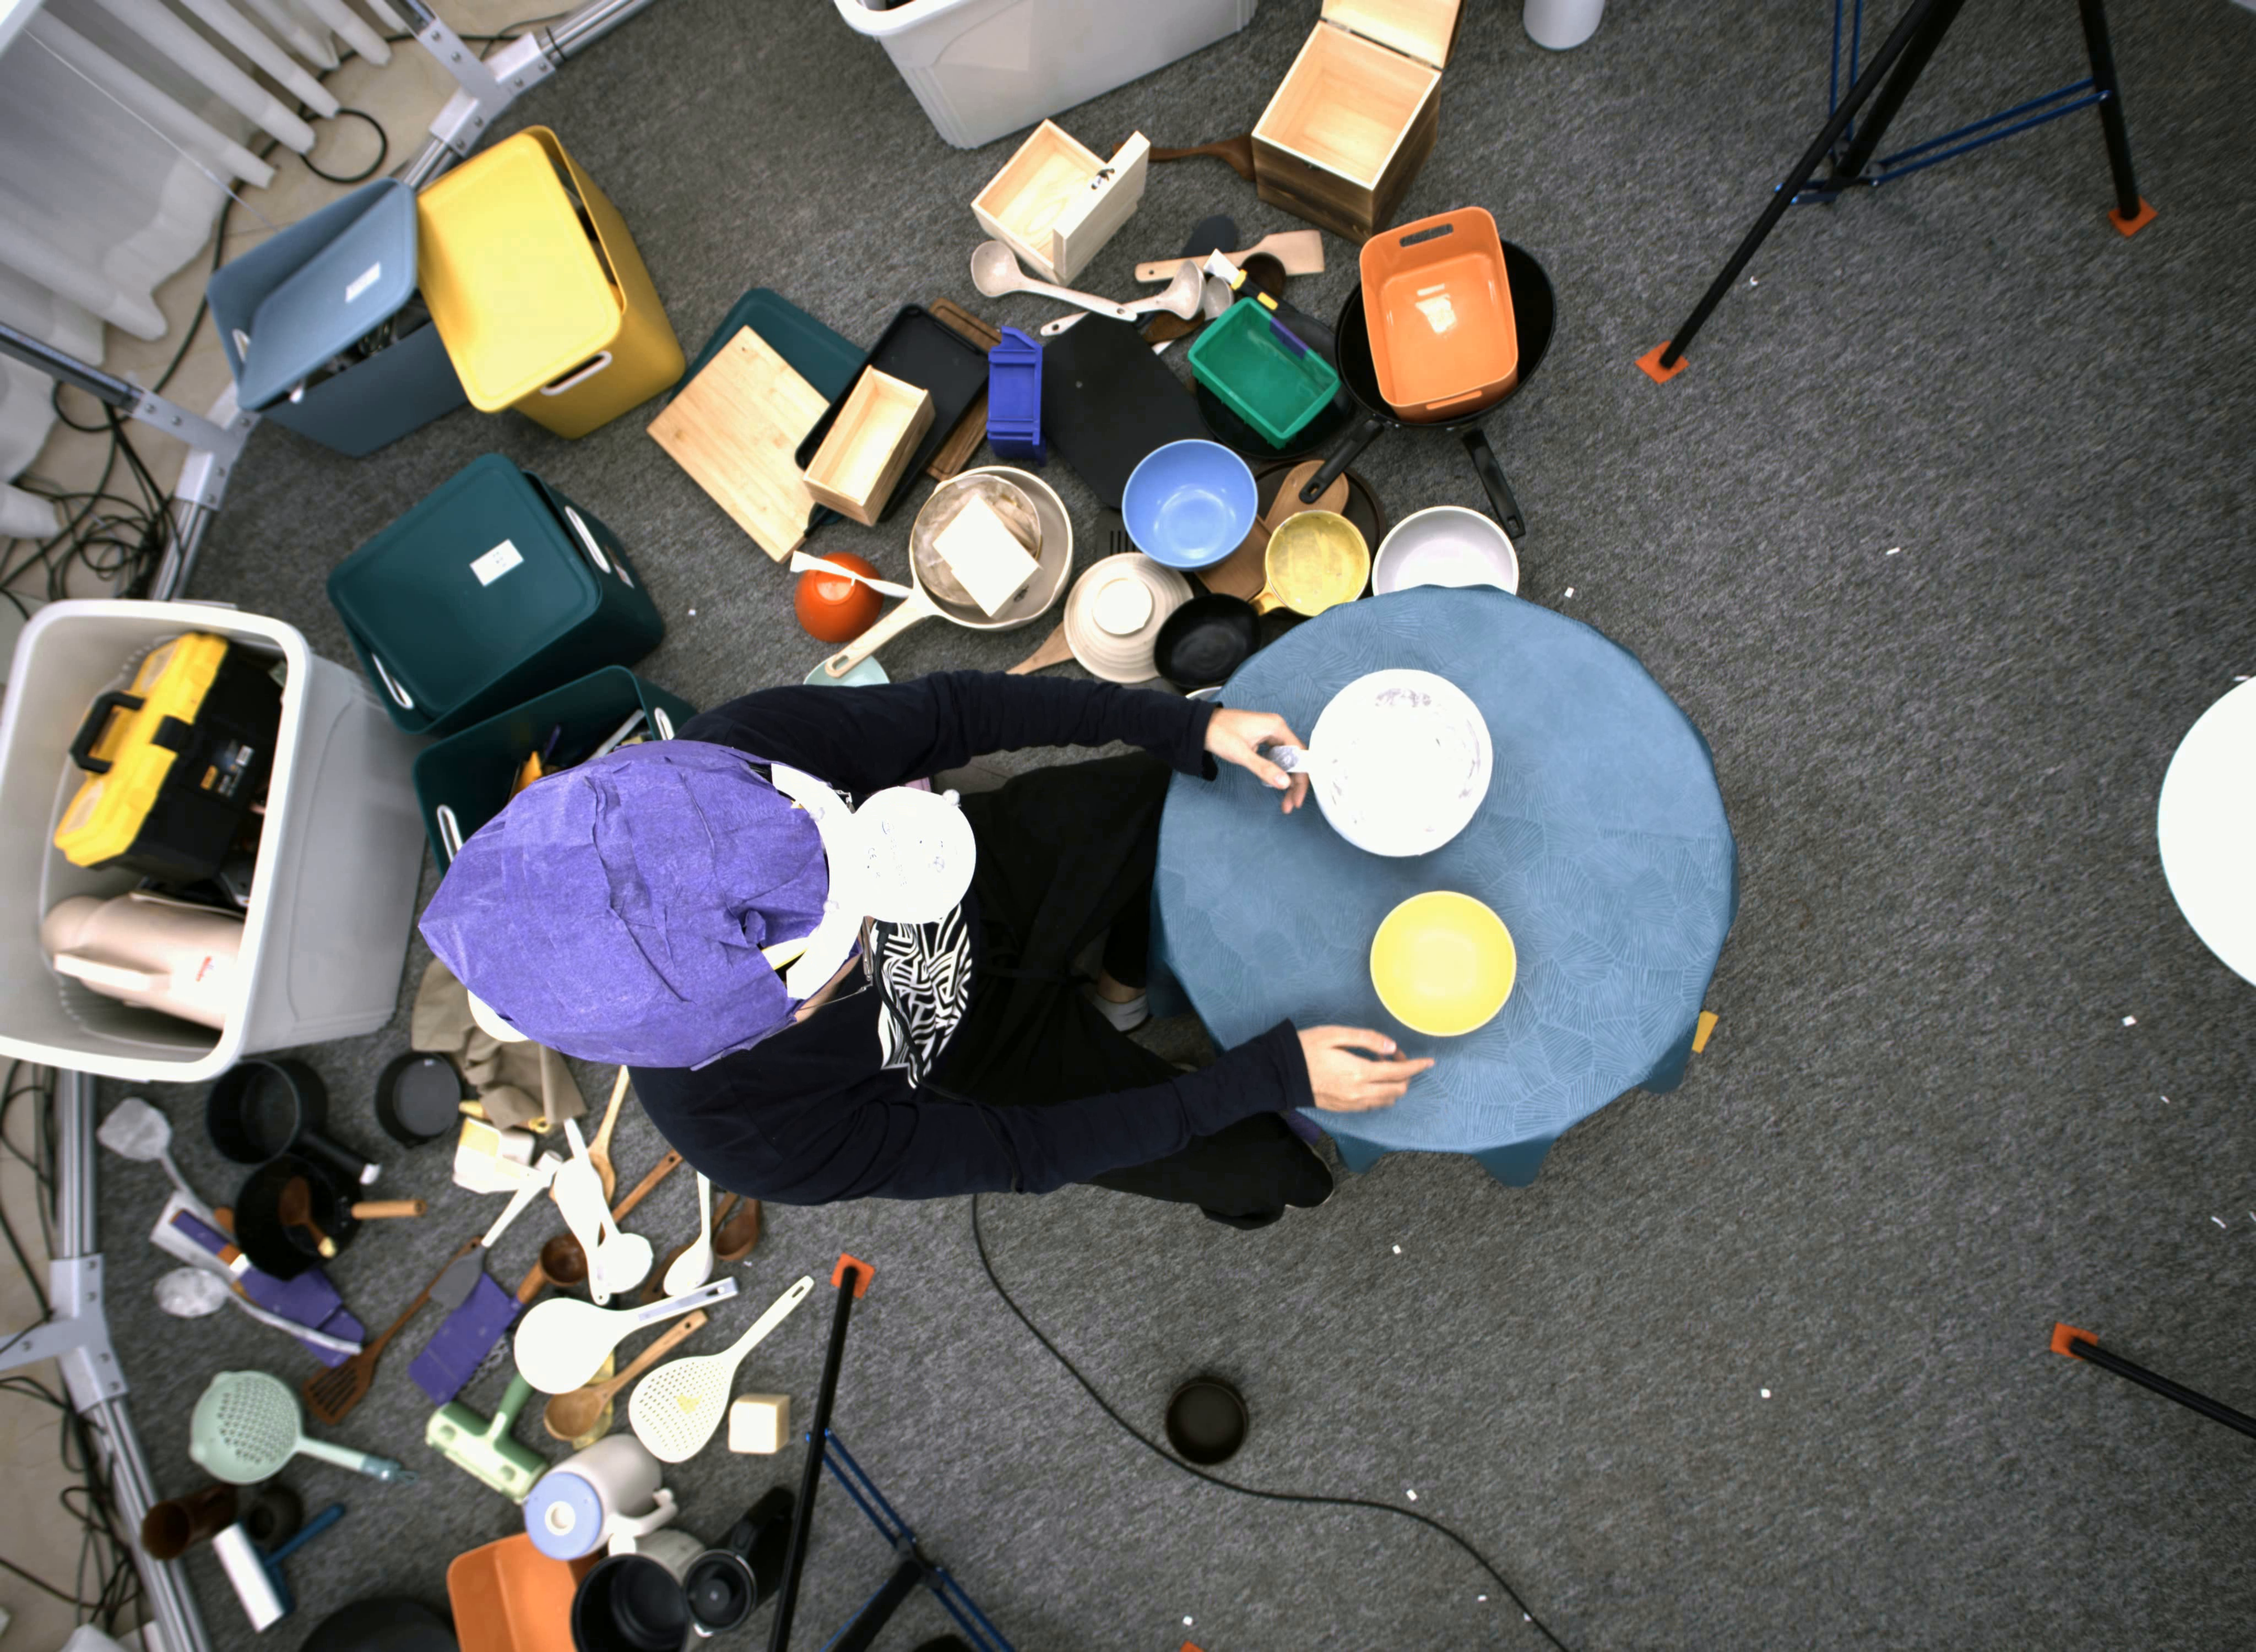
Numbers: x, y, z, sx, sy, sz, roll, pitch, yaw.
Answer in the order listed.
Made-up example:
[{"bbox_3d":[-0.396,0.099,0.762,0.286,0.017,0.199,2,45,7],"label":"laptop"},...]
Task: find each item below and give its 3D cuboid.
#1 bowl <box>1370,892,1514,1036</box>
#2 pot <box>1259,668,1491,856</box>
[{"bbox_3d":[0.320,0.140,1.415,0.146,0.060,0.144,-1,85,9],"label":"bowl"},{"bbox_3d":[0.248,-0.062,1.404,0.234,0.136,0.178,1,86,12],"label":"pot"}]
